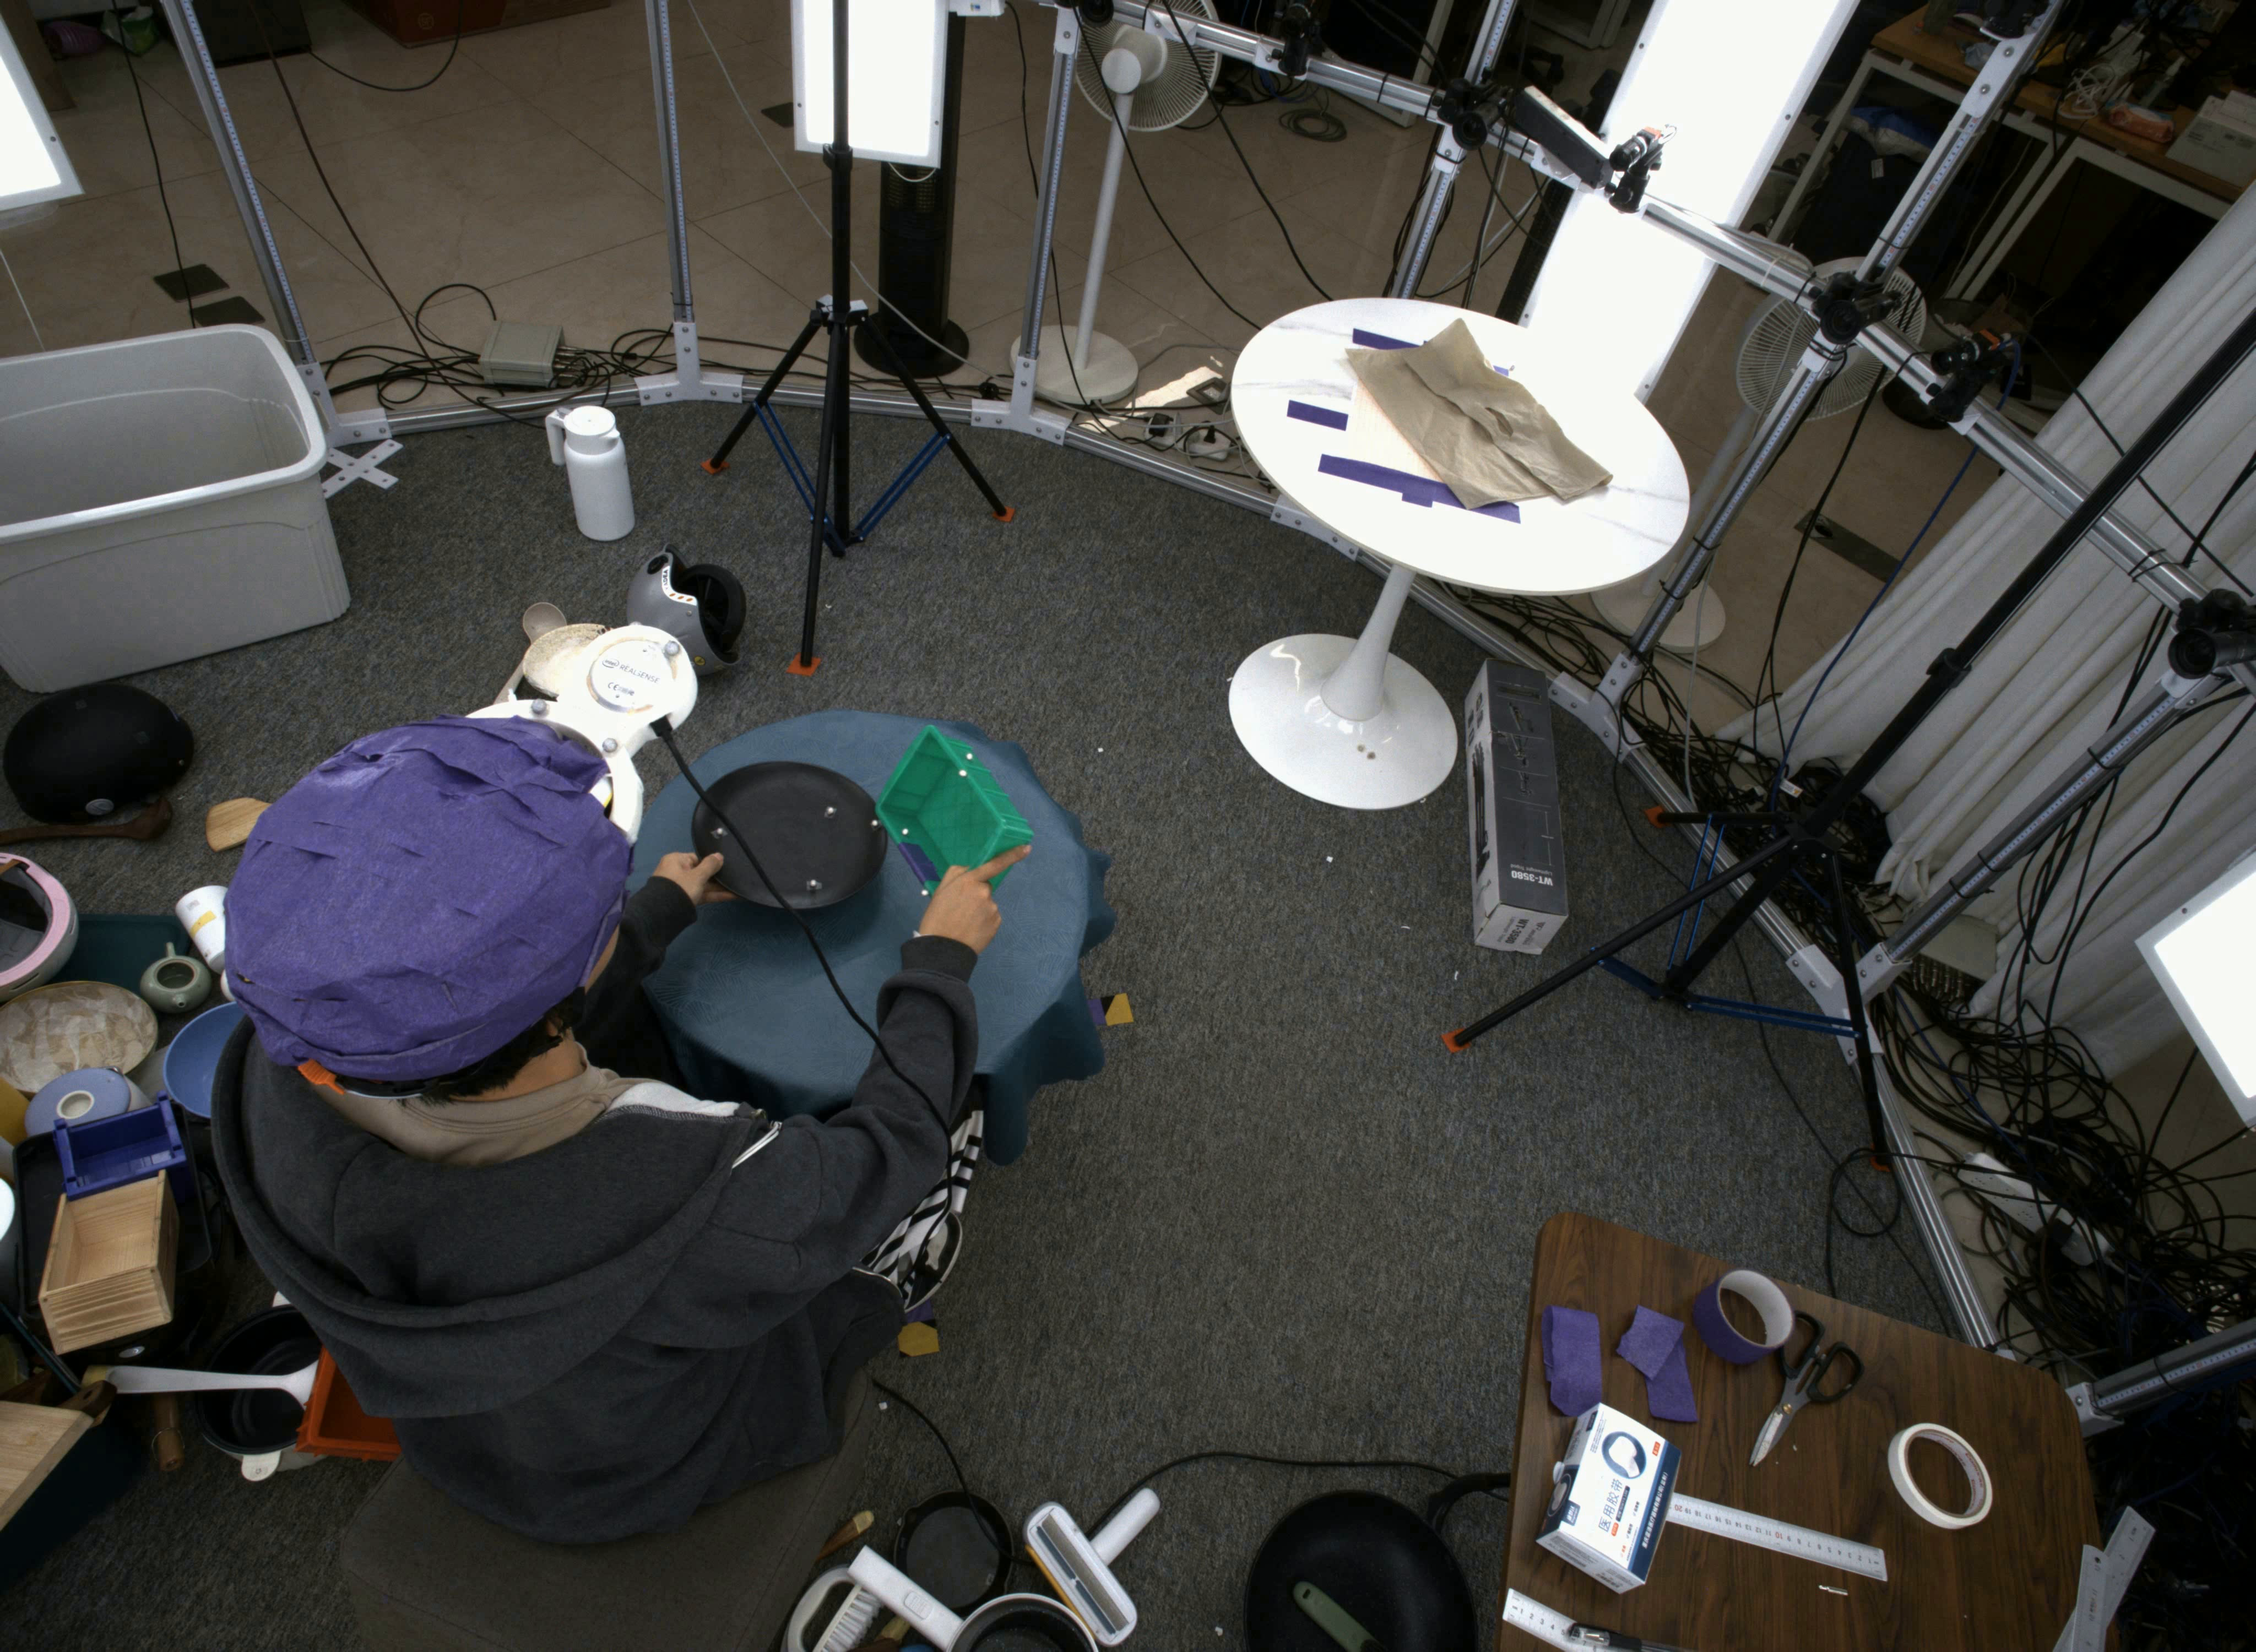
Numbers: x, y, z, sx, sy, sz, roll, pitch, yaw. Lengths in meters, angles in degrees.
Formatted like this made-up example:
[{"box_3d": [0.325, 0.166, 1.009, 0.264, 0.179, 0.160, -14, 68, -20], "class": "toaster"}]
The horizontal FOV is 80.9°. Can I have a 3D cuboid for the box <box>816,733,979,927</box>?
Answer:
[{"box_3d": [-0.266, 0.004, 1.507, 0.204, 0.140, 0.067, 44, 22, 30], "class": "box"}]

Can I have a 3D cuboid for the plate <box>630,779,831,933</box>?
[{"box_3d": [-0.491, 0.037, 1.601, 0.245, 0.024, 0.239, 13, 47, -13], "class": "plate"}]
